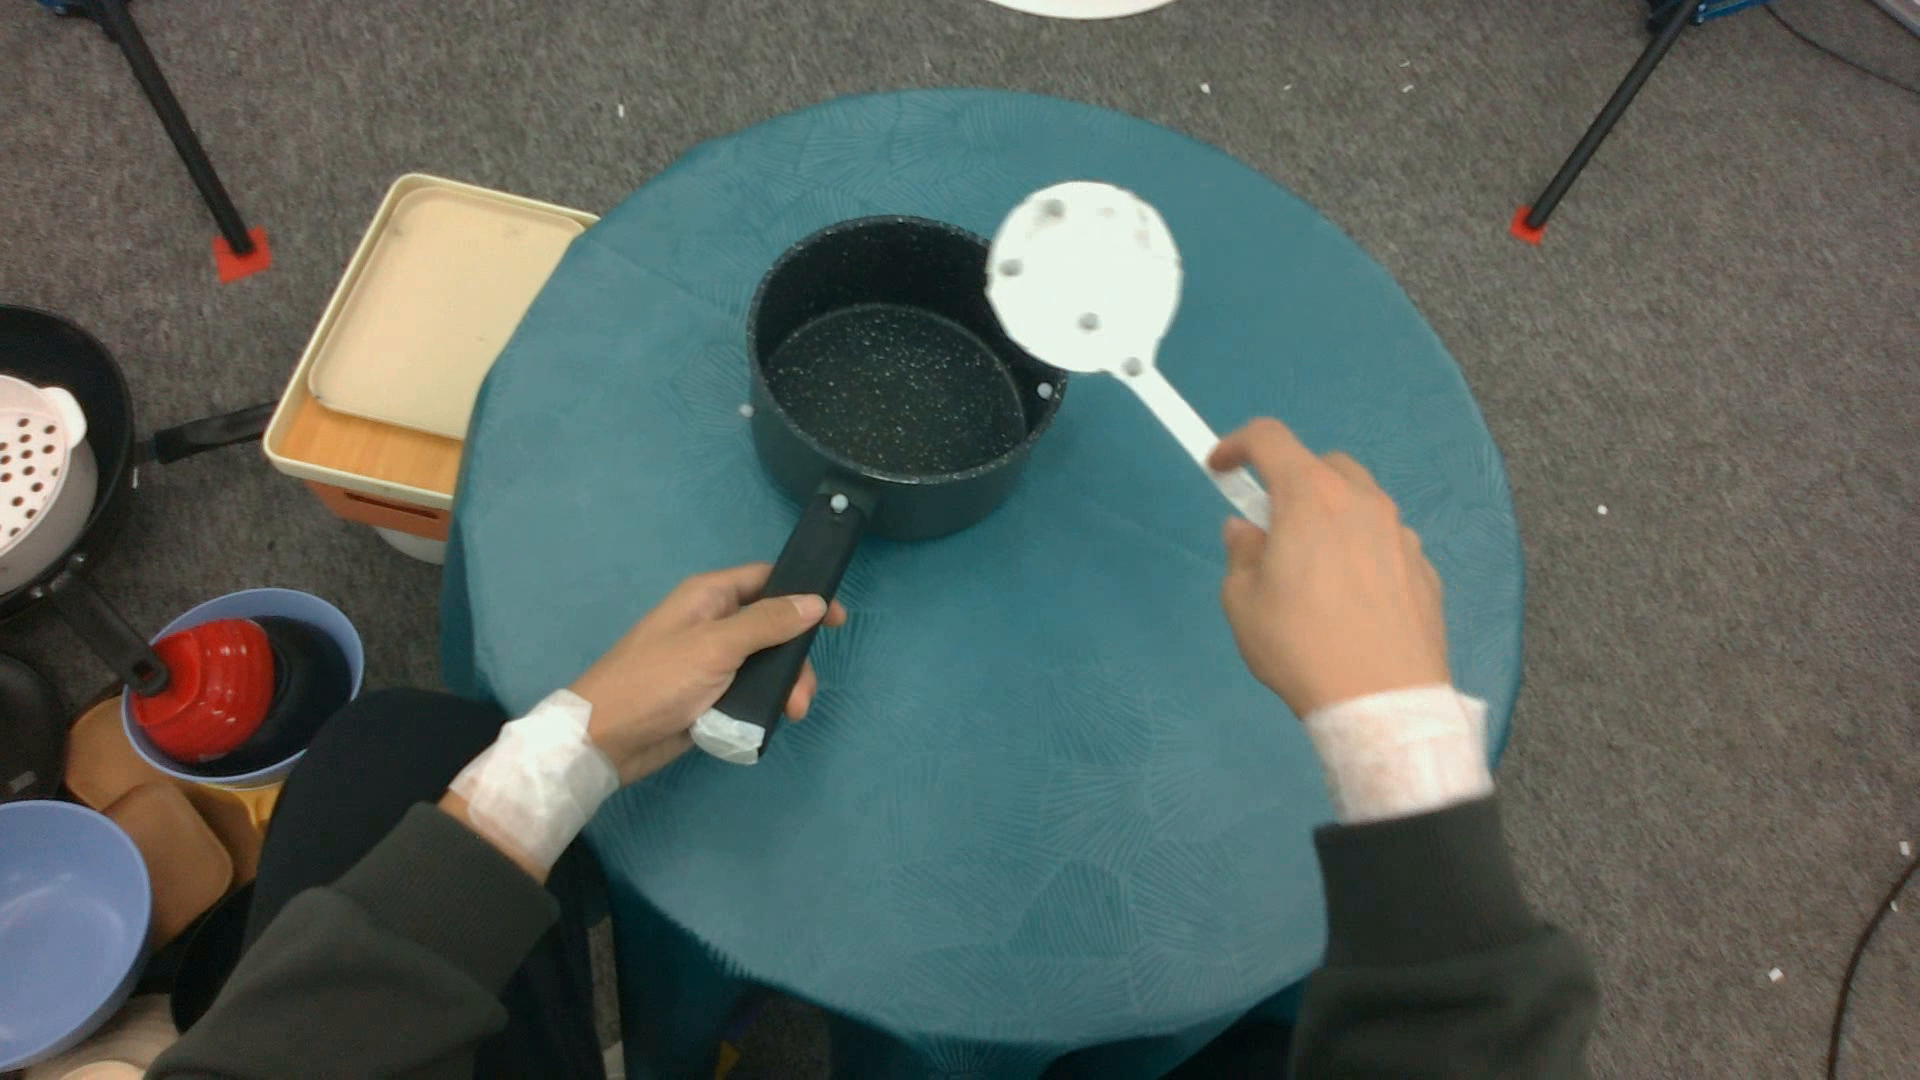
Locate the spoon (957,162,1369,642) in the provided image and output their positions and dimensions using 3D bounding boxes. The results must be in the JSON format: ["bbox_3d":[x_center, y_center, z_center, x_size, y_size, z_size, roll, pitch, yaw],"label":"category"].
[{"bbox_3d":[0.087,-0.067,0.600,0.101,0.059,0.278,-27,53,-10],"label":"spoon"}]

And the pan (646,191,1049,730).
[{"bbox_3d":[-0.069,-0.037,0.707,0.172,0.086,0.330,23,59,2],"label":"pan"}]
